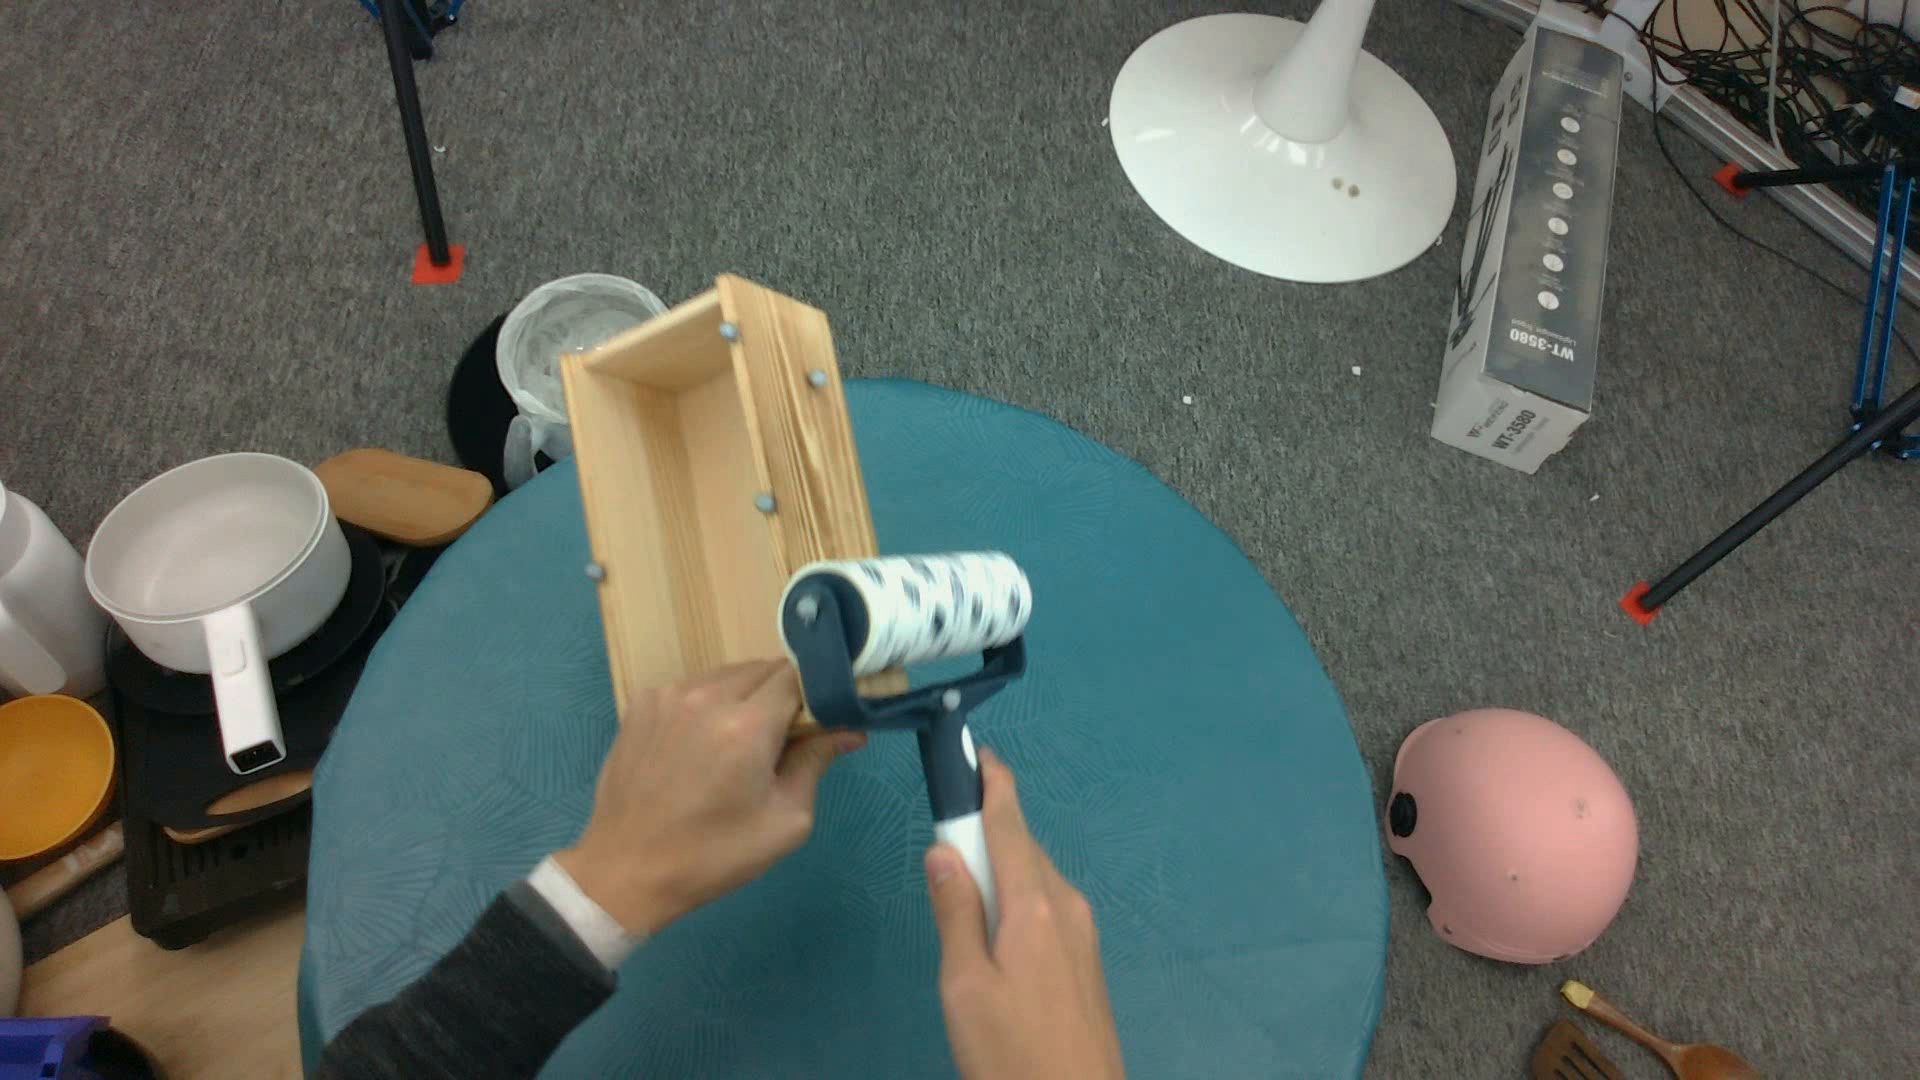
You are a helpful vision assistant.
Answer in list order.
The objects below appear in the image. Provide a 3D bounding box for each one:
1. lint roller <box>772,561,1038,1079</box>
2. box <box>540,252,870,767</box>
[{"bbox_3d":[0.002,0.129,0.613,0.050,0.176,0.247,-18,84,23],"label":"lint roller"},{"bbox_3d":[-0.115,-0.011,0.649,0.107,0.080,0.212,-20,77,24],"label":"box"}]
